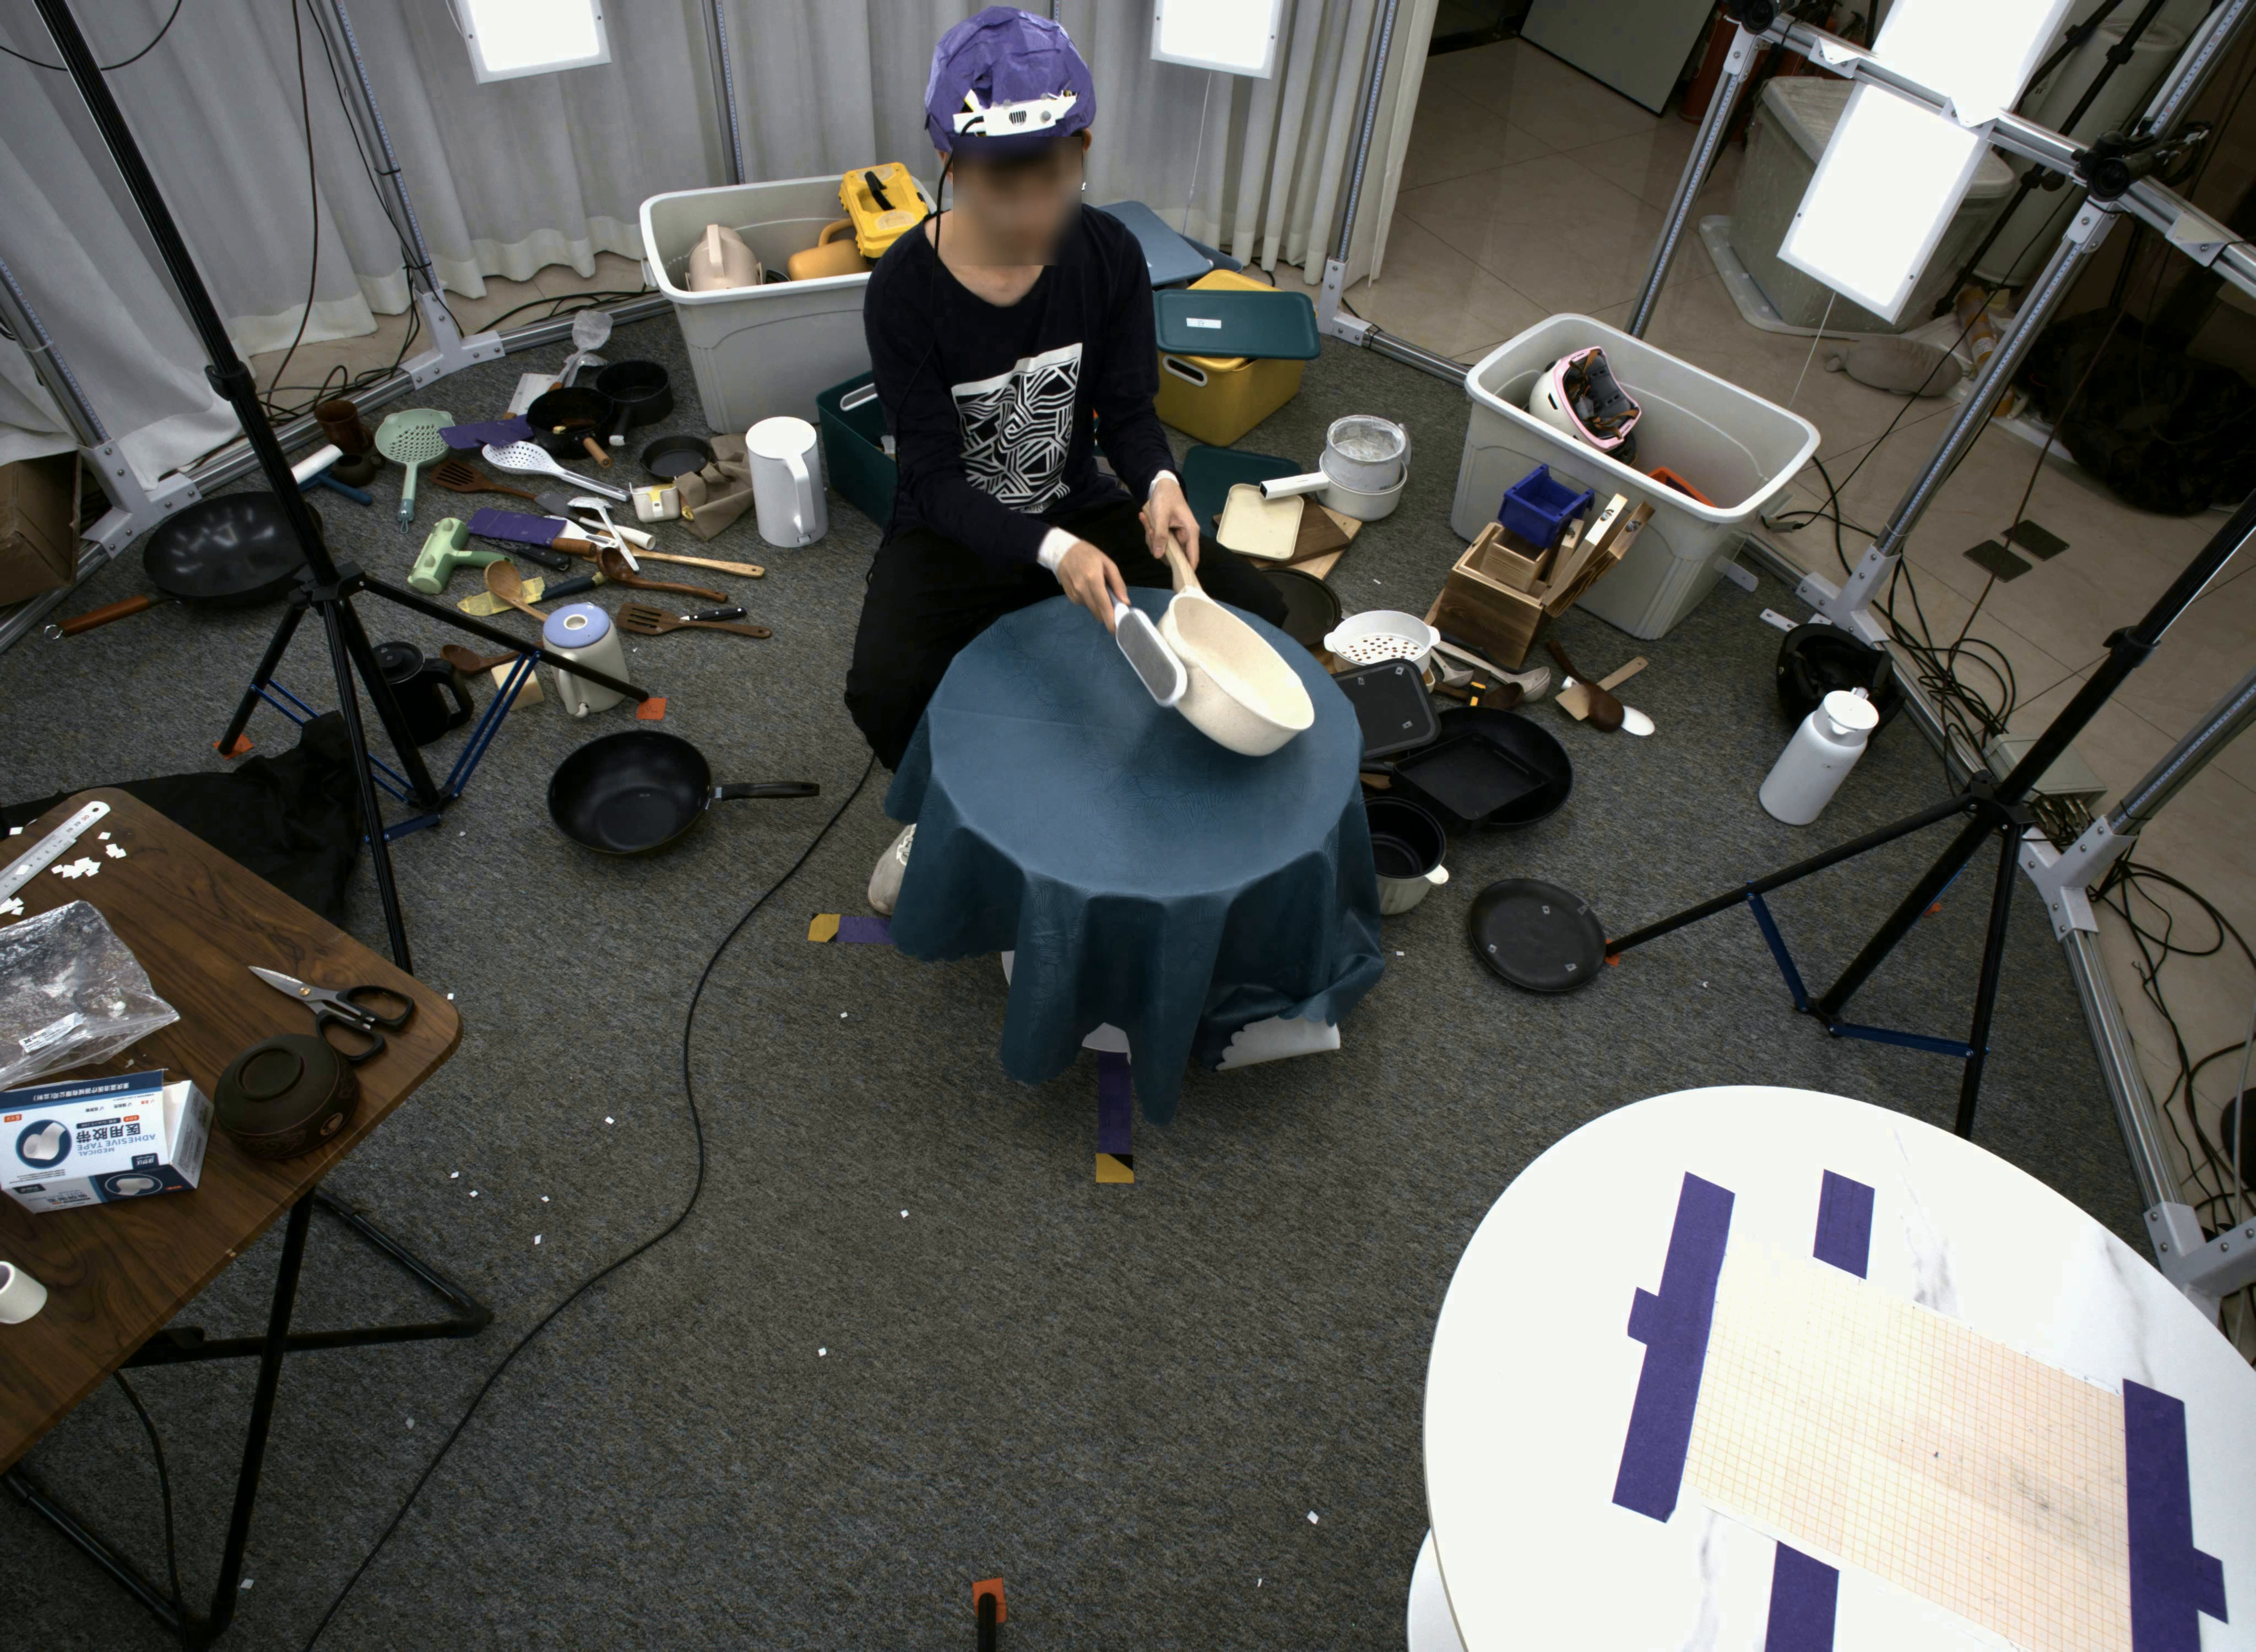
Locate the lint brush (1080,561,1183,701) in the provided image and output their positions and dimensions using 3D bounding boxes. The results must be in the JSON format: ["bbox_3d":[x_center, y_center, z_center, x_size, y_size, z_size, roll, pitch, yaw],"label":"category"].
[{"bbox_3d":[0.000,-0.267,1.704,0.021,0.059,0.316,6,36,-33],"label":"lint brush"}]

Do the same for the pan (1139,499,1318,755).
[{"bbox_3d":[0.099,-0.273,1.778,0.261,0.100,0.444,5,46,-45],"label":"pan"}]
